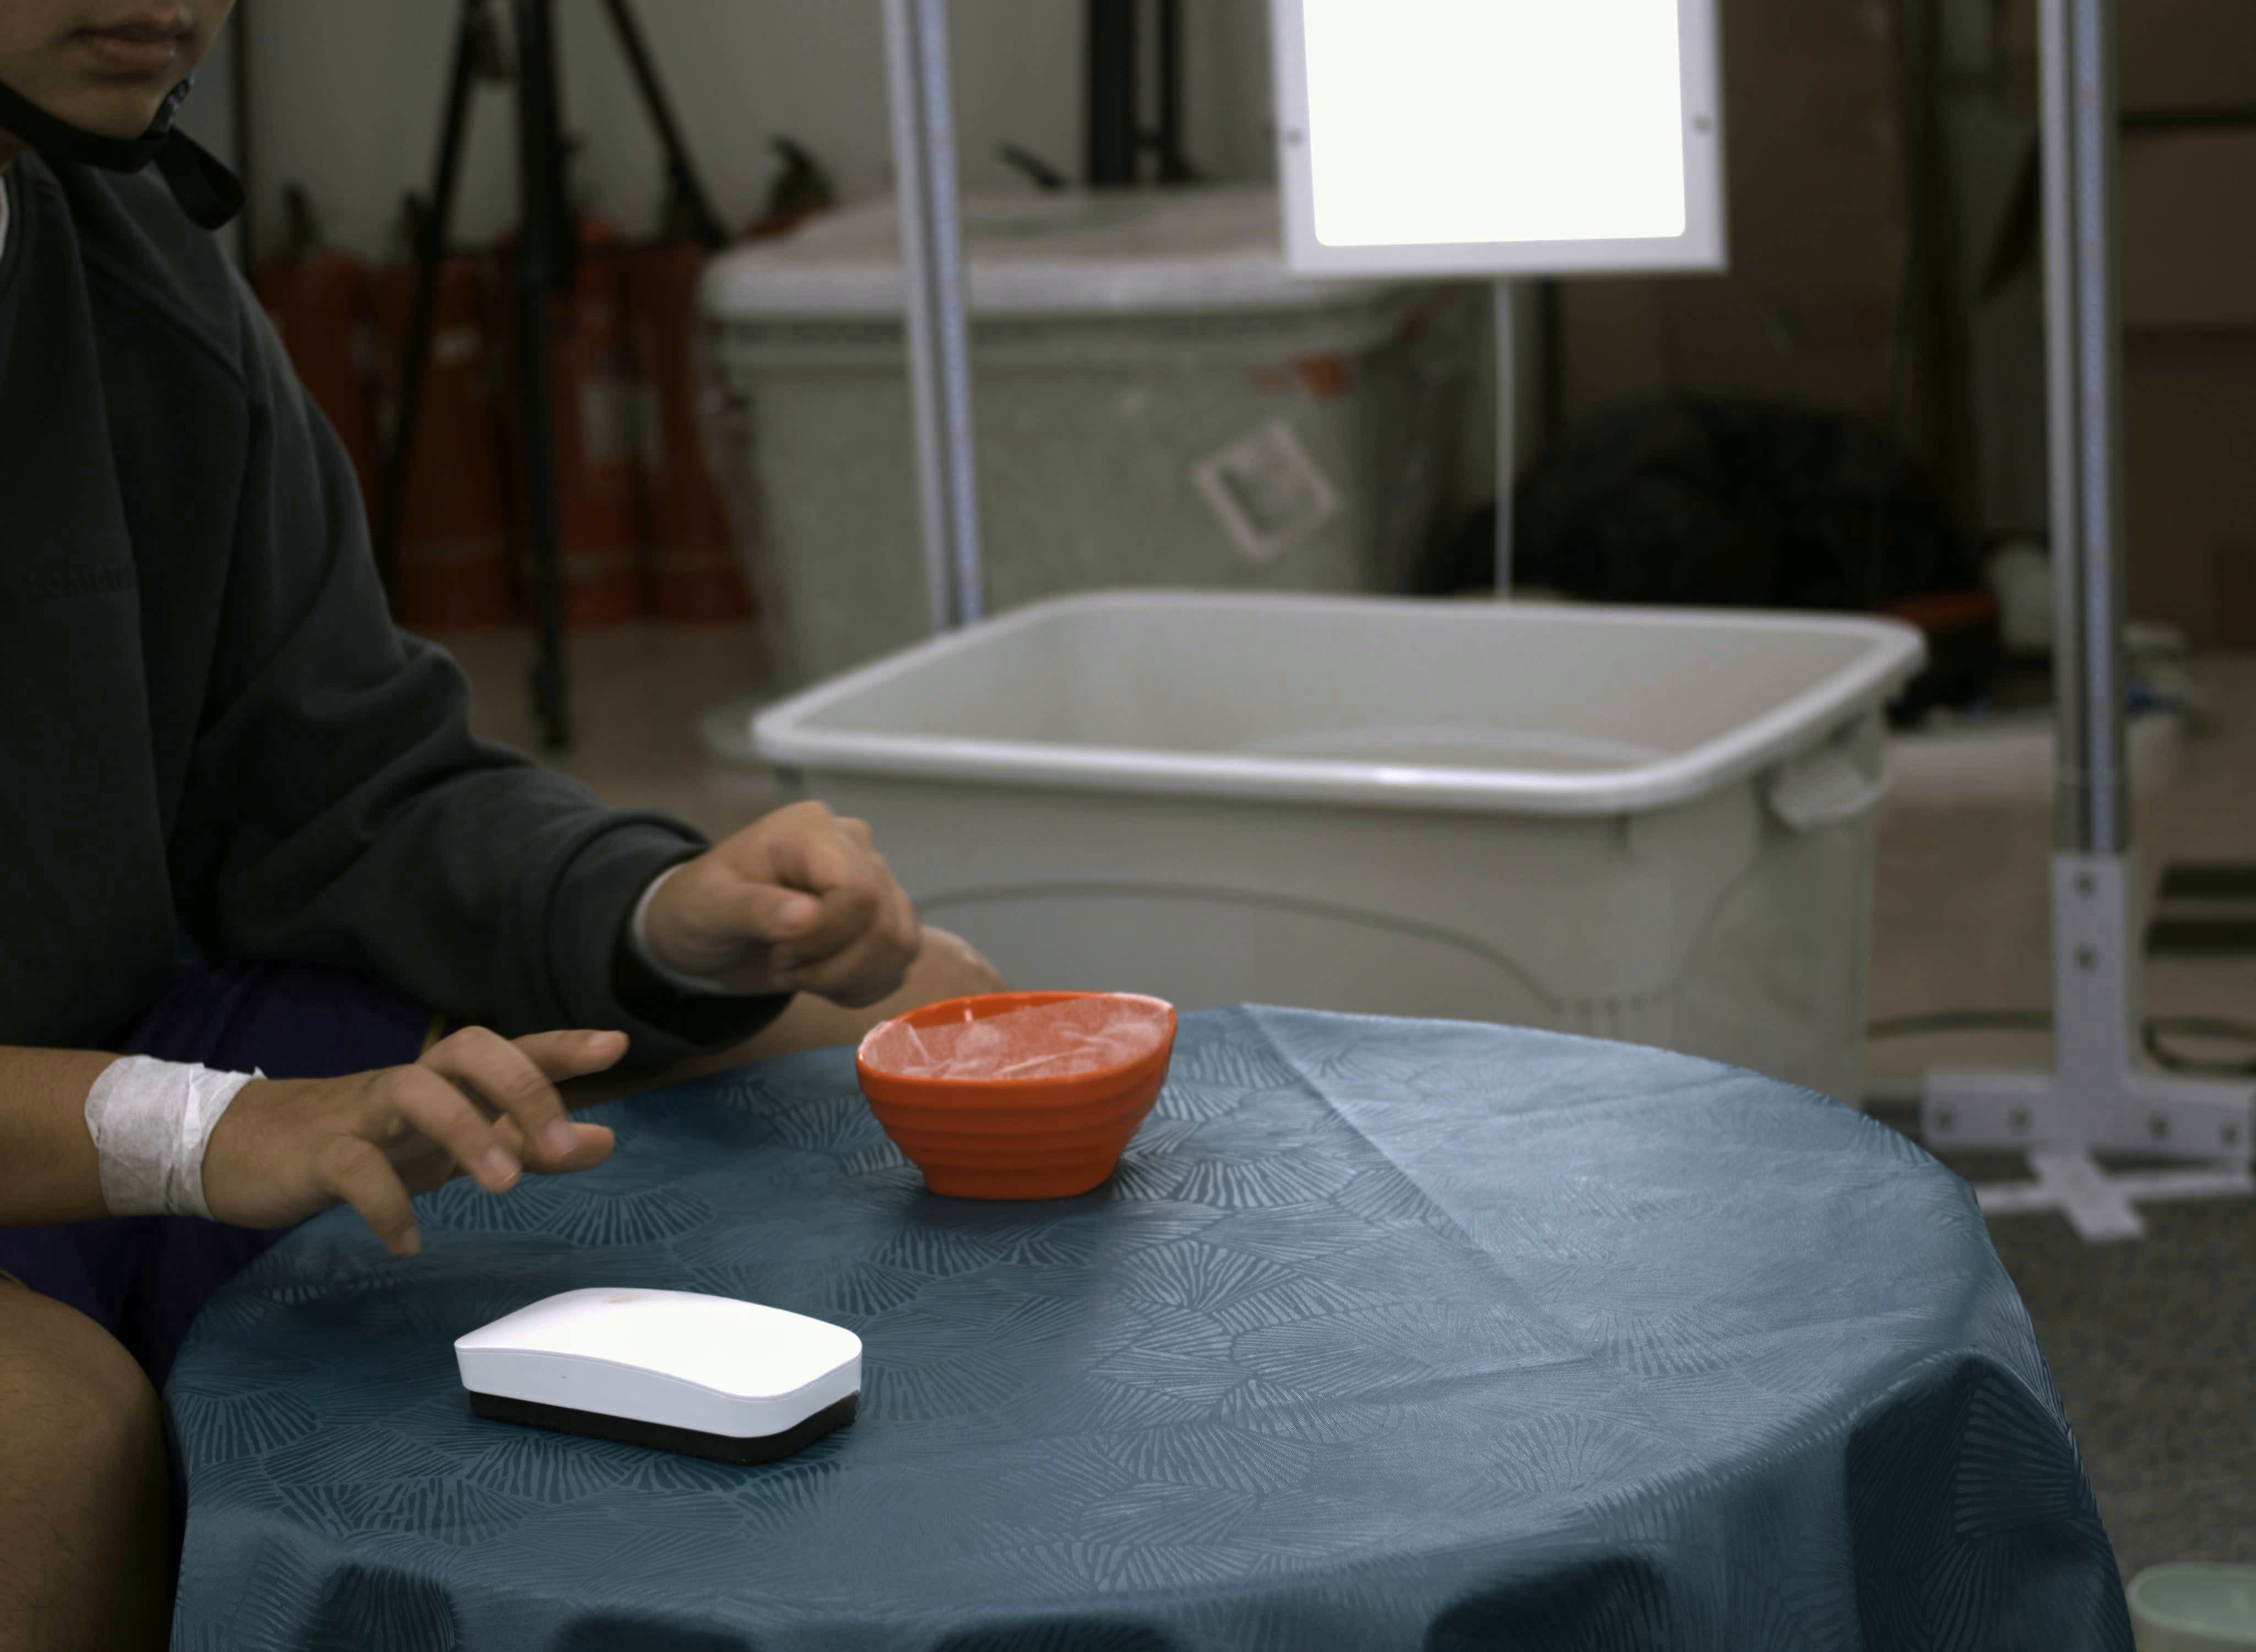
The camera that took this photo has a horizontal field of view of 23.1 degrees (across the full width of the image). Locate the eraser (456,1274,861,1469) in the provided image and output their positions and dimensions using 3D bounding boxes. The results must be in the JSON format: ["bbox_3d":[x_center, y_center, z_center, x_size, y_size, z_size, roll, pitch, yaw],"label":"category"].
[{"bbox_3d":[-0.145,0.167,1.716,0.134,0.034,0.062,8,18,37],"label":"eraser"}]

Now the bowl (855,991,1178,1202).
[{"bbox_3d":[-0.037,0.097,1.925,0.118,0.051,0.119,-5,15,0],"label":"bowl"}]
